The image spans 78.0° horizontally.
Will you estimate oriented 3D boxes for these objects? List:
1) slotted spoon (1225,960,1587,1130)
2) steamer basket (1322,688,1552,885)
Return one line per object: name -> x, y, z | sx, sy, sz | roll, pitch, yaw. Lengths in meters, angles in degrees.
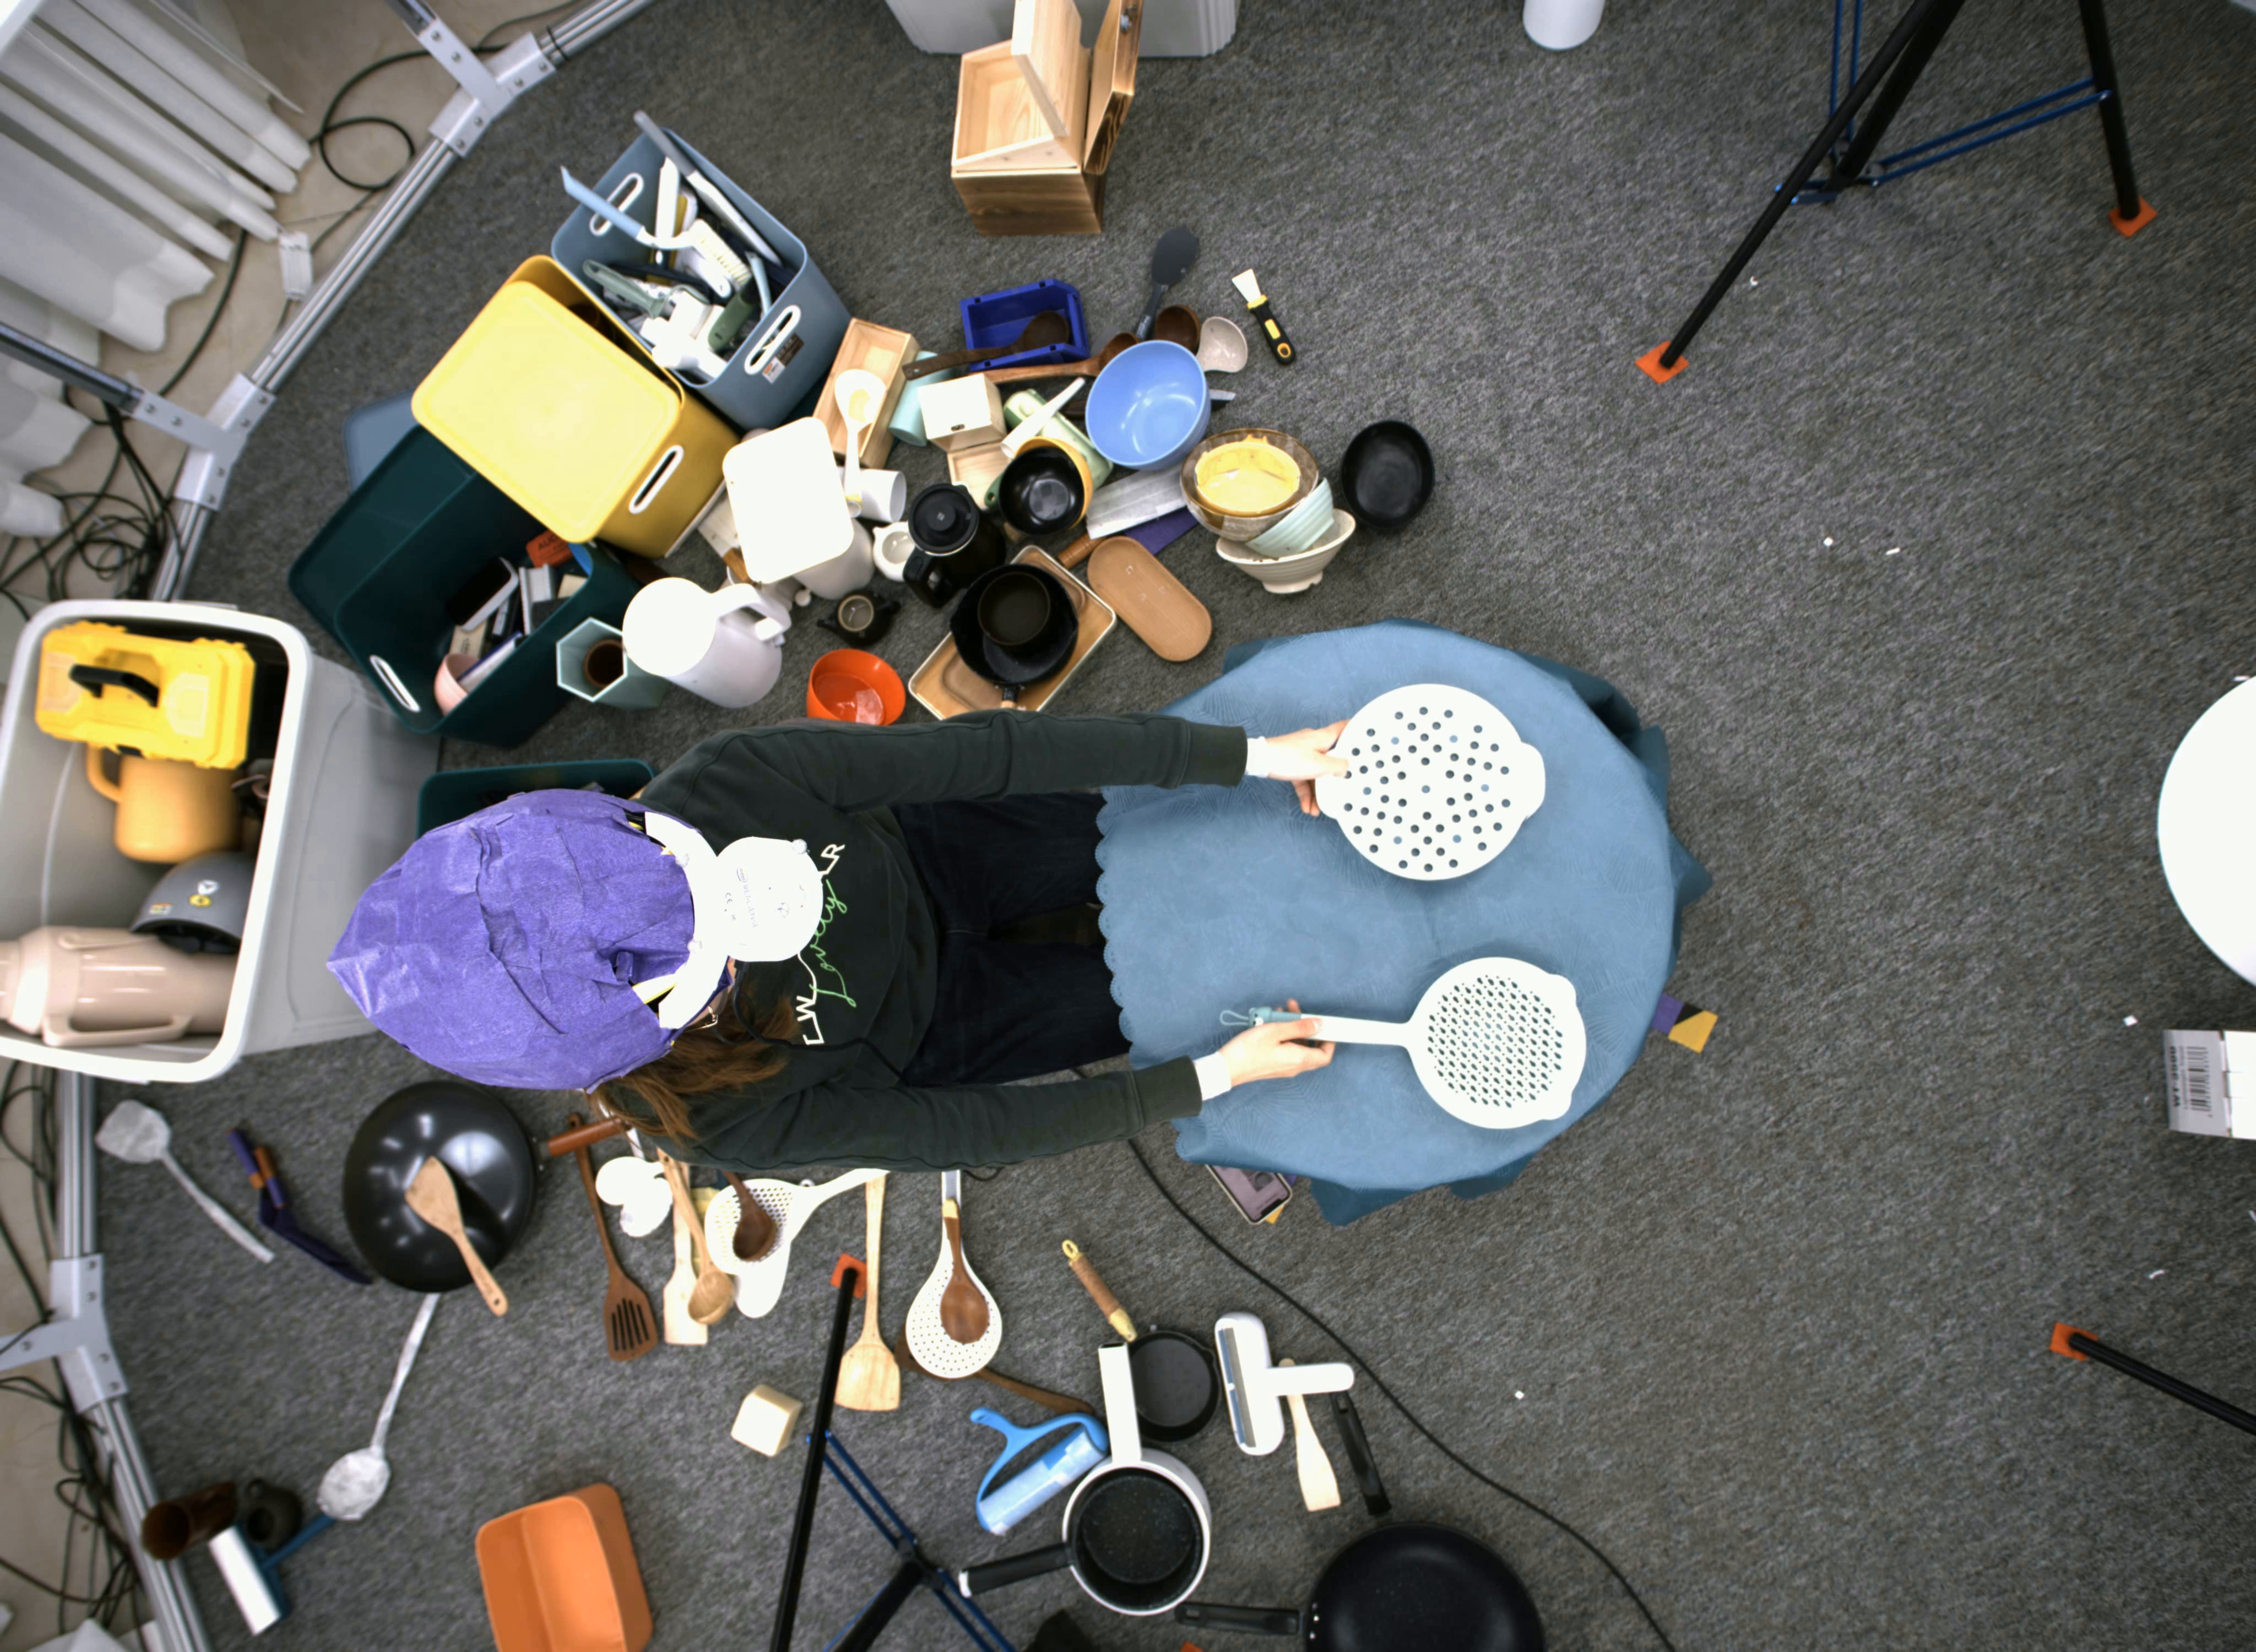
slotted spoon -> 0.279, 0.212, 1.411 | 0.359, 0.076, 0.168 | 5, 83, 4
steamer basket -> 0.319, -0.041, 1.432 | 0.231, 0.069, 0.200 | -2, 83, 11
